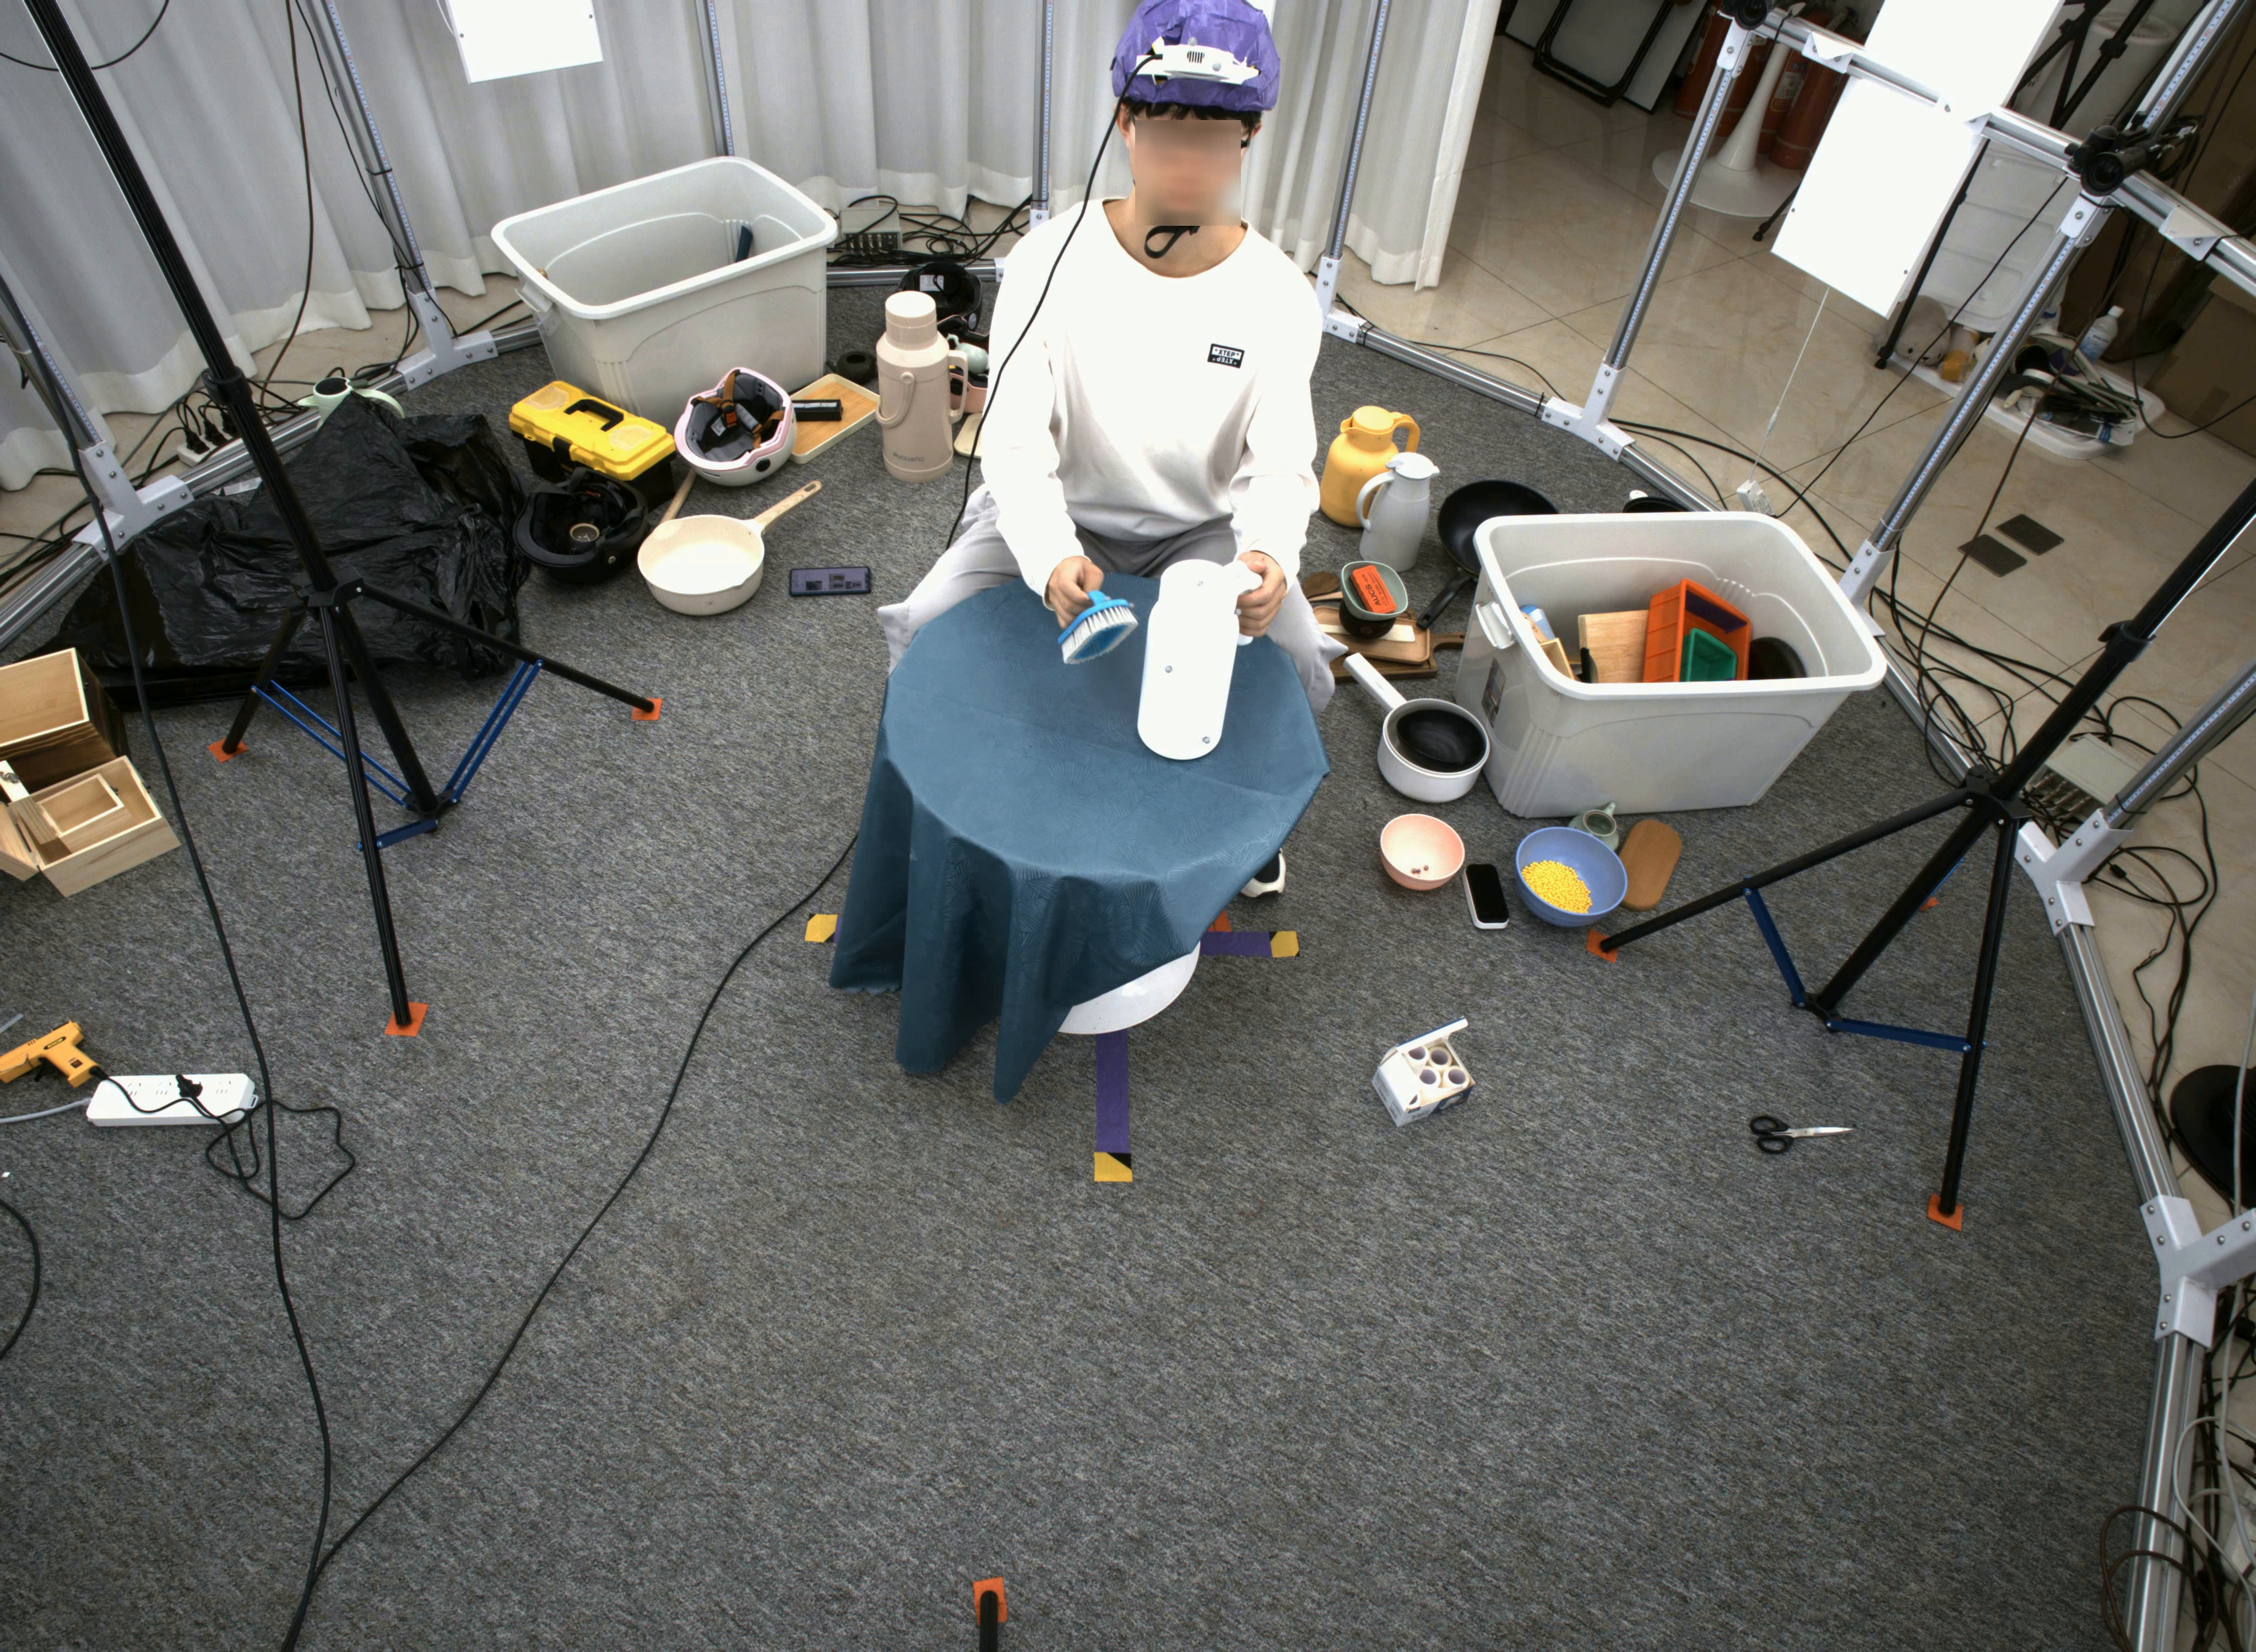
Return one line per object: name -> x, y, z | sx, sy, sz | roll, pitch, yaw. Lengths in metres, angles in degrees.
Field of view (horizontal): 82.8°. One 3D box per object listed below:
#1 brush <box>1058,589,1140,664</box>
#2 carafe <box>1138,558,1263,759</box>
brush -> -0.045, -0.268, 1.682 | 0.084, 0.140, 0.064 | -21, 84, -27
carafe -> 0.093, -0.225, 1.695 | 0.174, 0.262, 0.126 | -30, 56, -28
